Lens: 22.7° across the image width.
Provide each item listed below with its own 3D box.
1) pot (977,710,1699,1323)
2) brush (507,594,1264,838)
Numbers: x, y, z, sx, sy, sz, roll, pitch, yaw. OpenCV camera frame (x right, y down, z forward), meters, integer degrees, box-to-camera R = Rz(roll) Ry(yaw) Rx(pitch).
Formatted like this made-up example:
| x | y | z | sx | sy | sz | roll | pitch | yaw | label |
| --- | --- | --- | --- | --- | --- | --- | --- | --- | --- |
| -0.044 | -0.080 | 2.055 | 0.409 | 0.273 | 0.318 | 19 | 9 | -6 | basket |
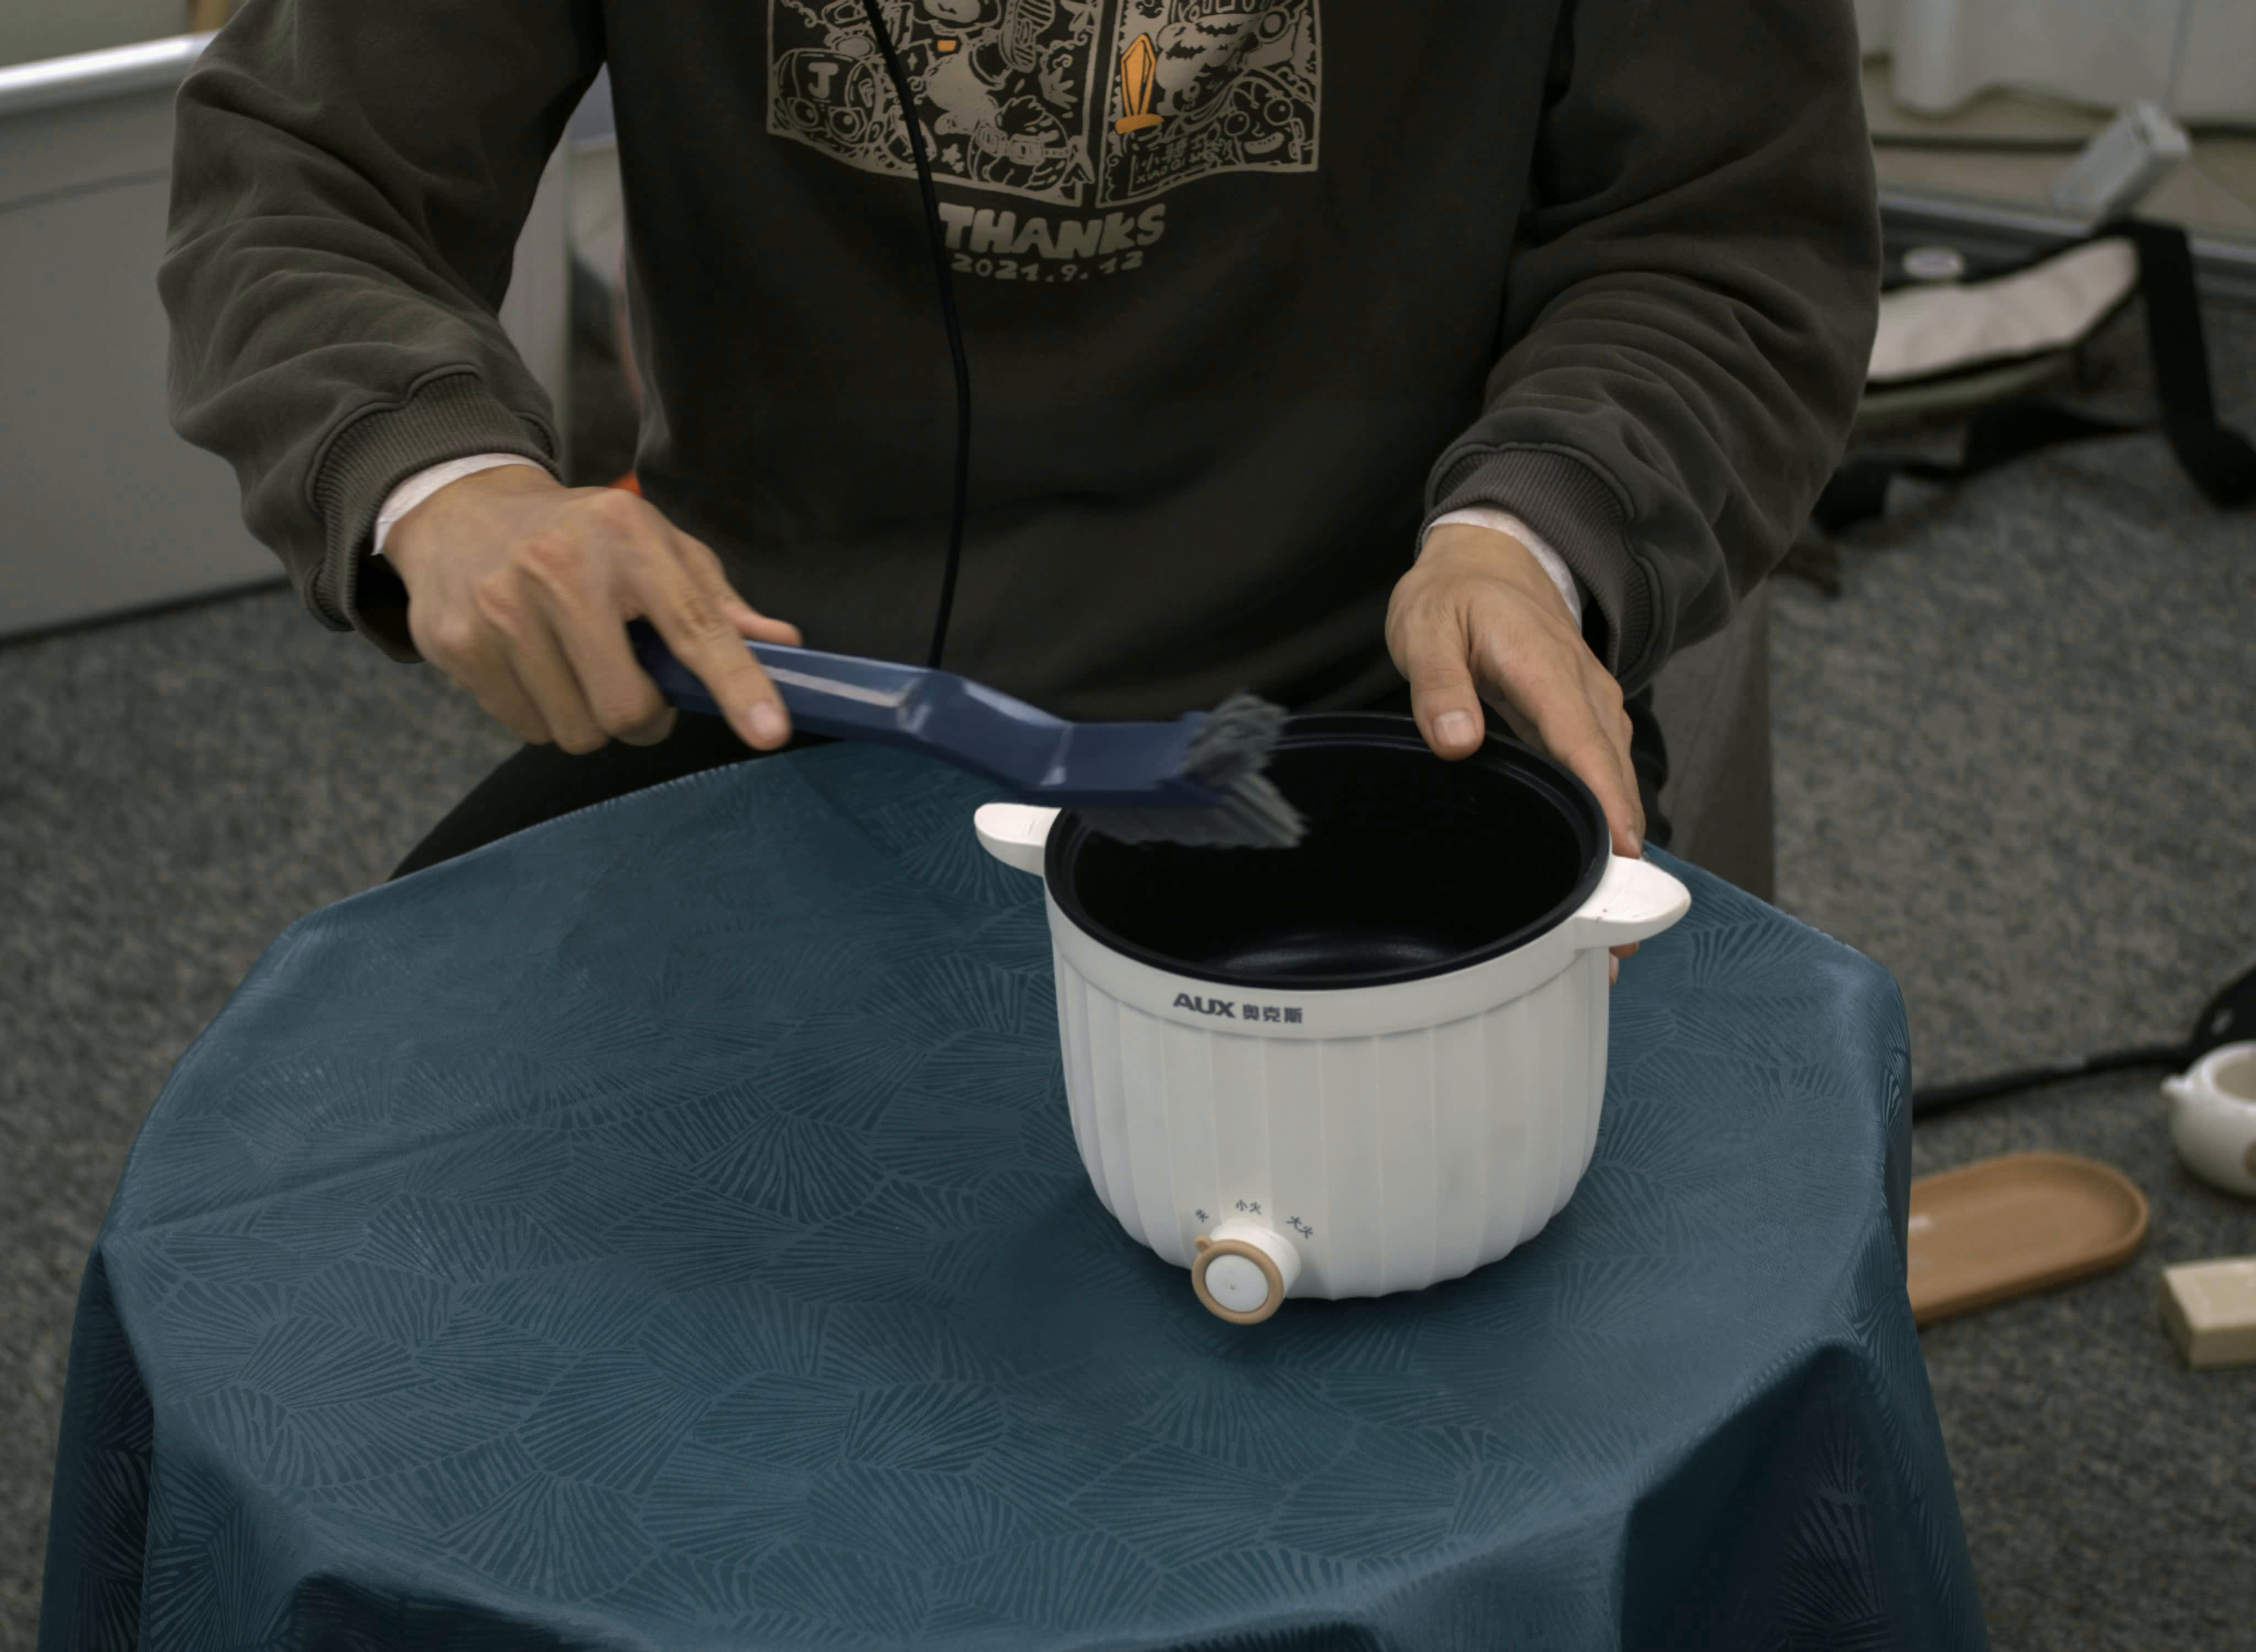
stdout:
| x | y | z | sx | sy | sz | roll | pitch | yaw | label |
| --- | --- | --- | --- | --- | --- | --- | --- | --- | --- |
| 0.067 | 0.065 | 1.814 | 0.238 | 0.141 | 0.193 | 6 | 25 | 19 | pot |
| -0.081 | -0.041 | 1.708 | 0.272 | 0.094 | 0.034 | 15 | 67 | 24 | brush |
